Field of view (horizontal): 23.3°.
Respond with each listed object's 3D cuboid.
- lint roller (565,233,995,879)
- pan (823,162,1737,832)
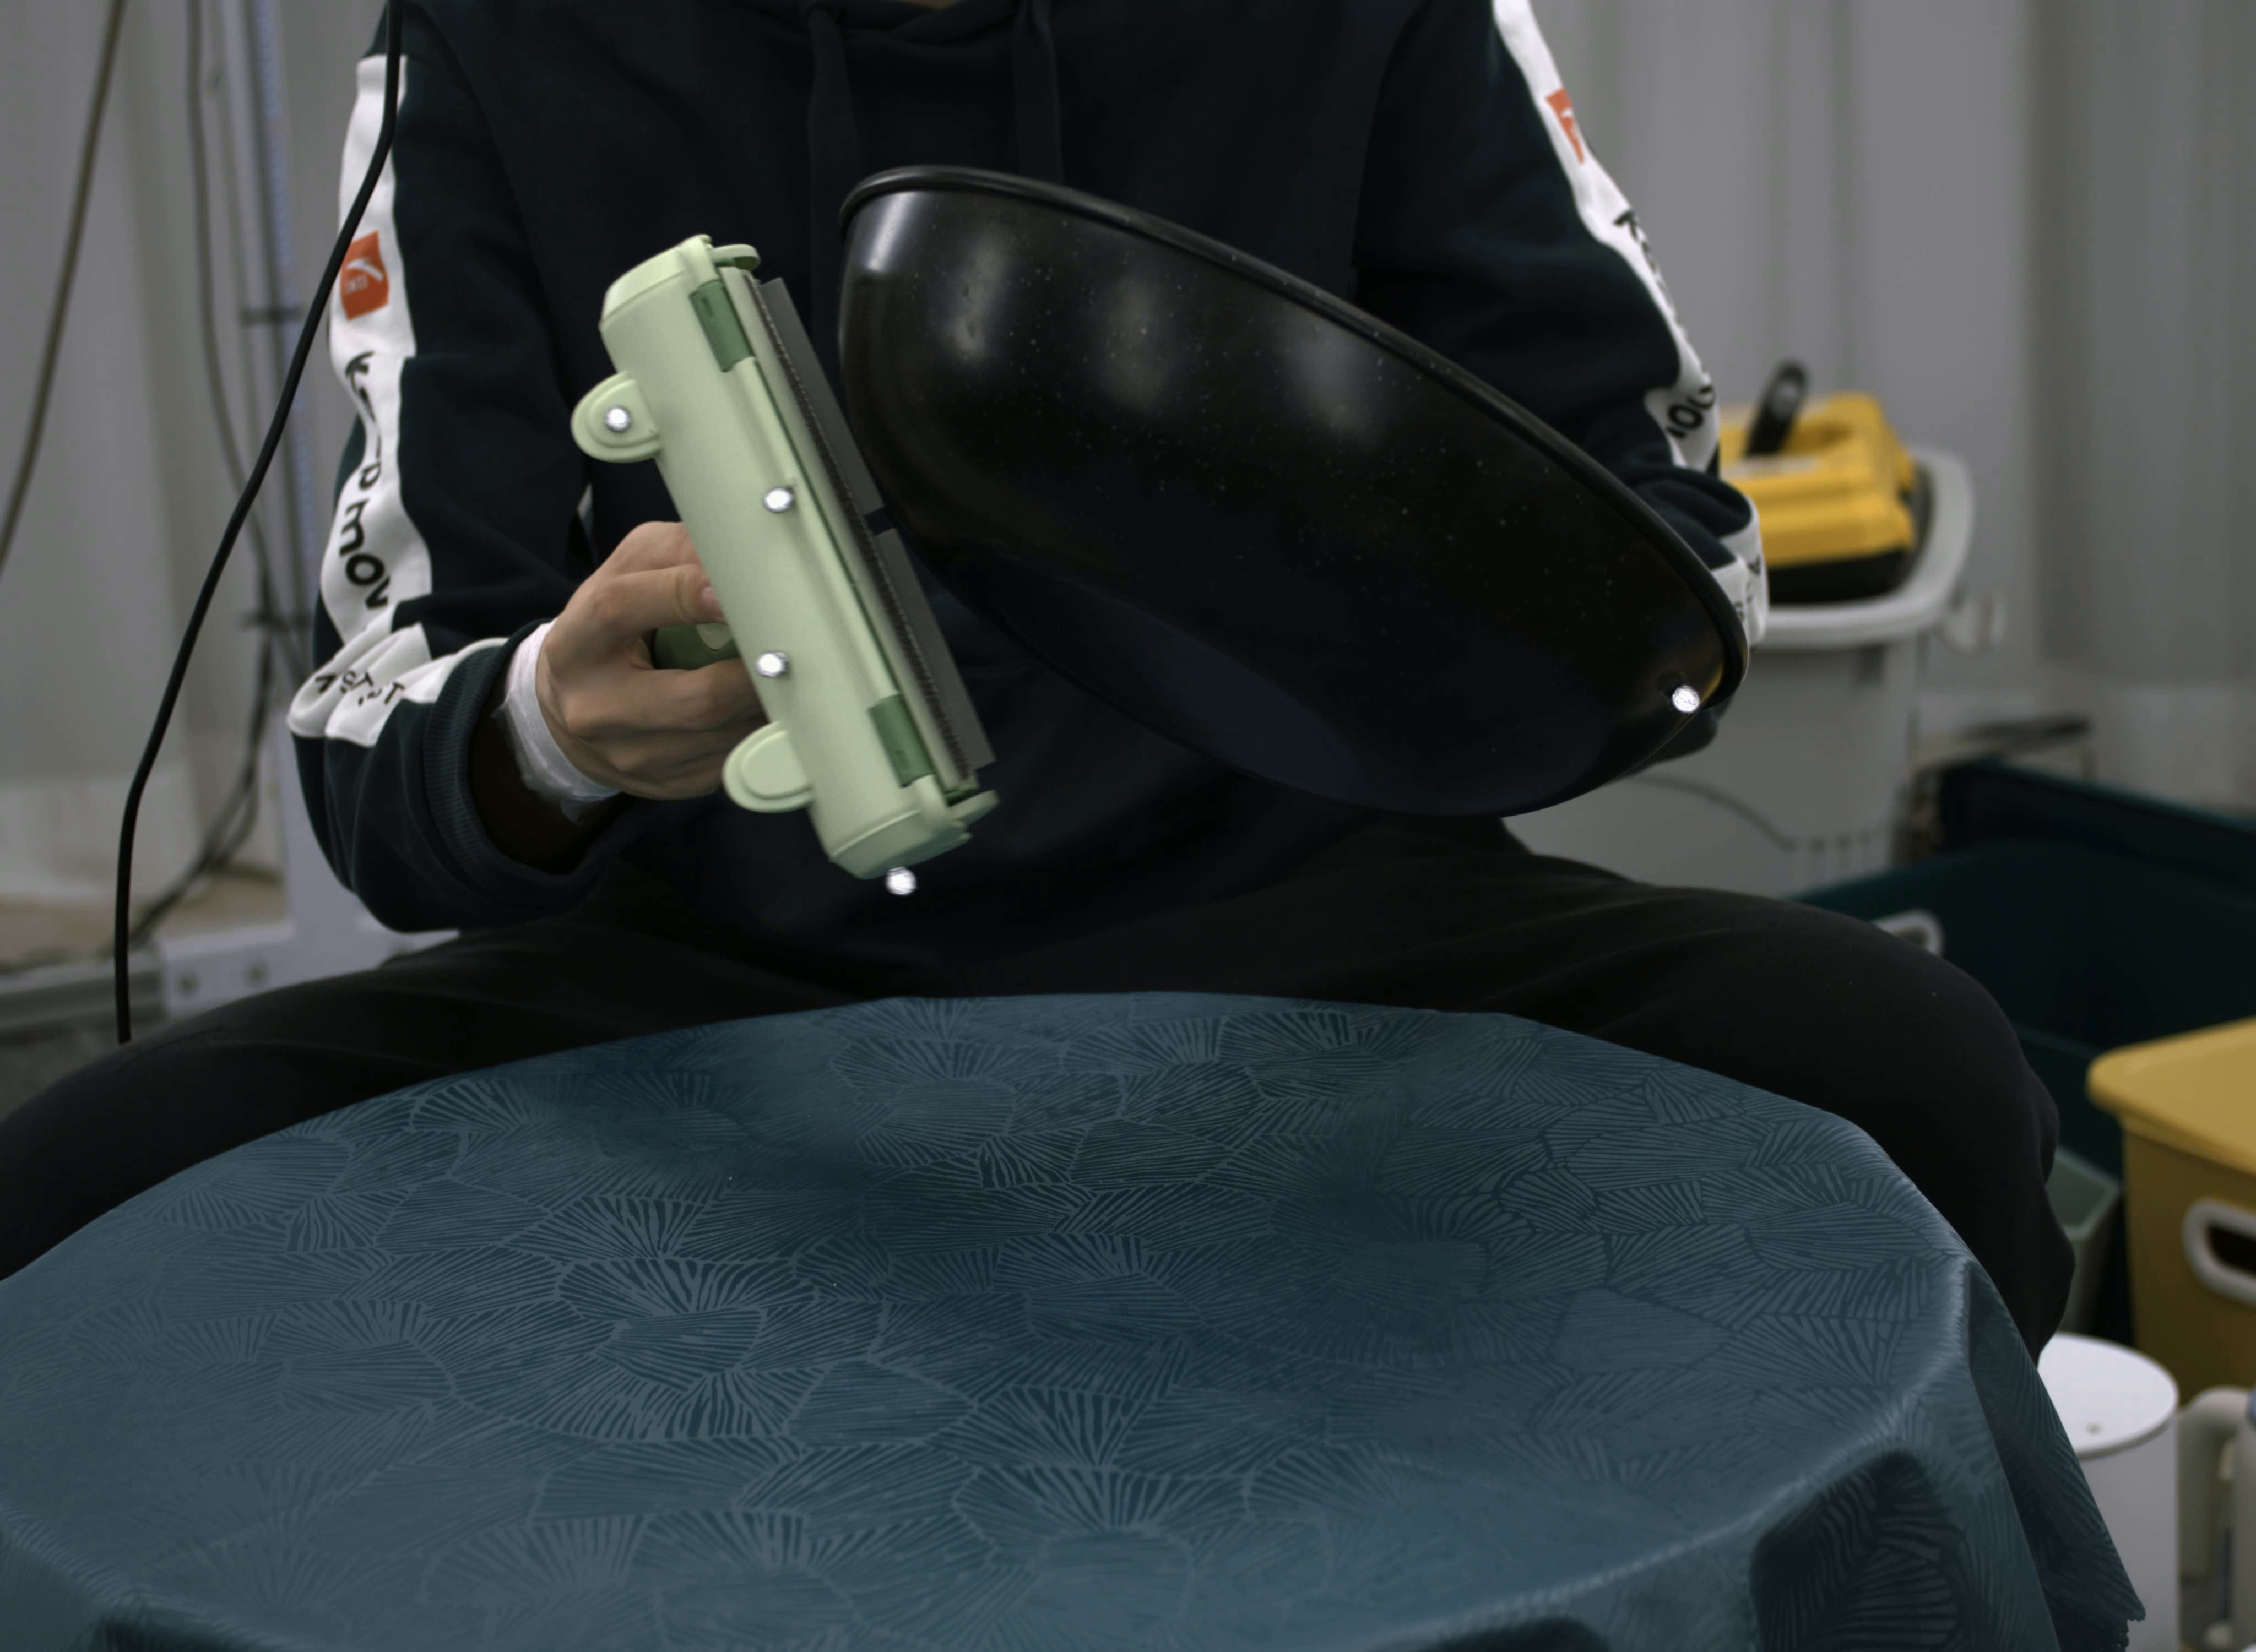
[{"bbox_3d":[-0.131,-0.062,1.689,0.082,0.200,0.182,-19,-9,-33],"label":"lint roller"},{"bbox_3d":[0.053,-0.063,1.730,0.312,0.112,0.472,25,-11,21],"label":"pan"}]
